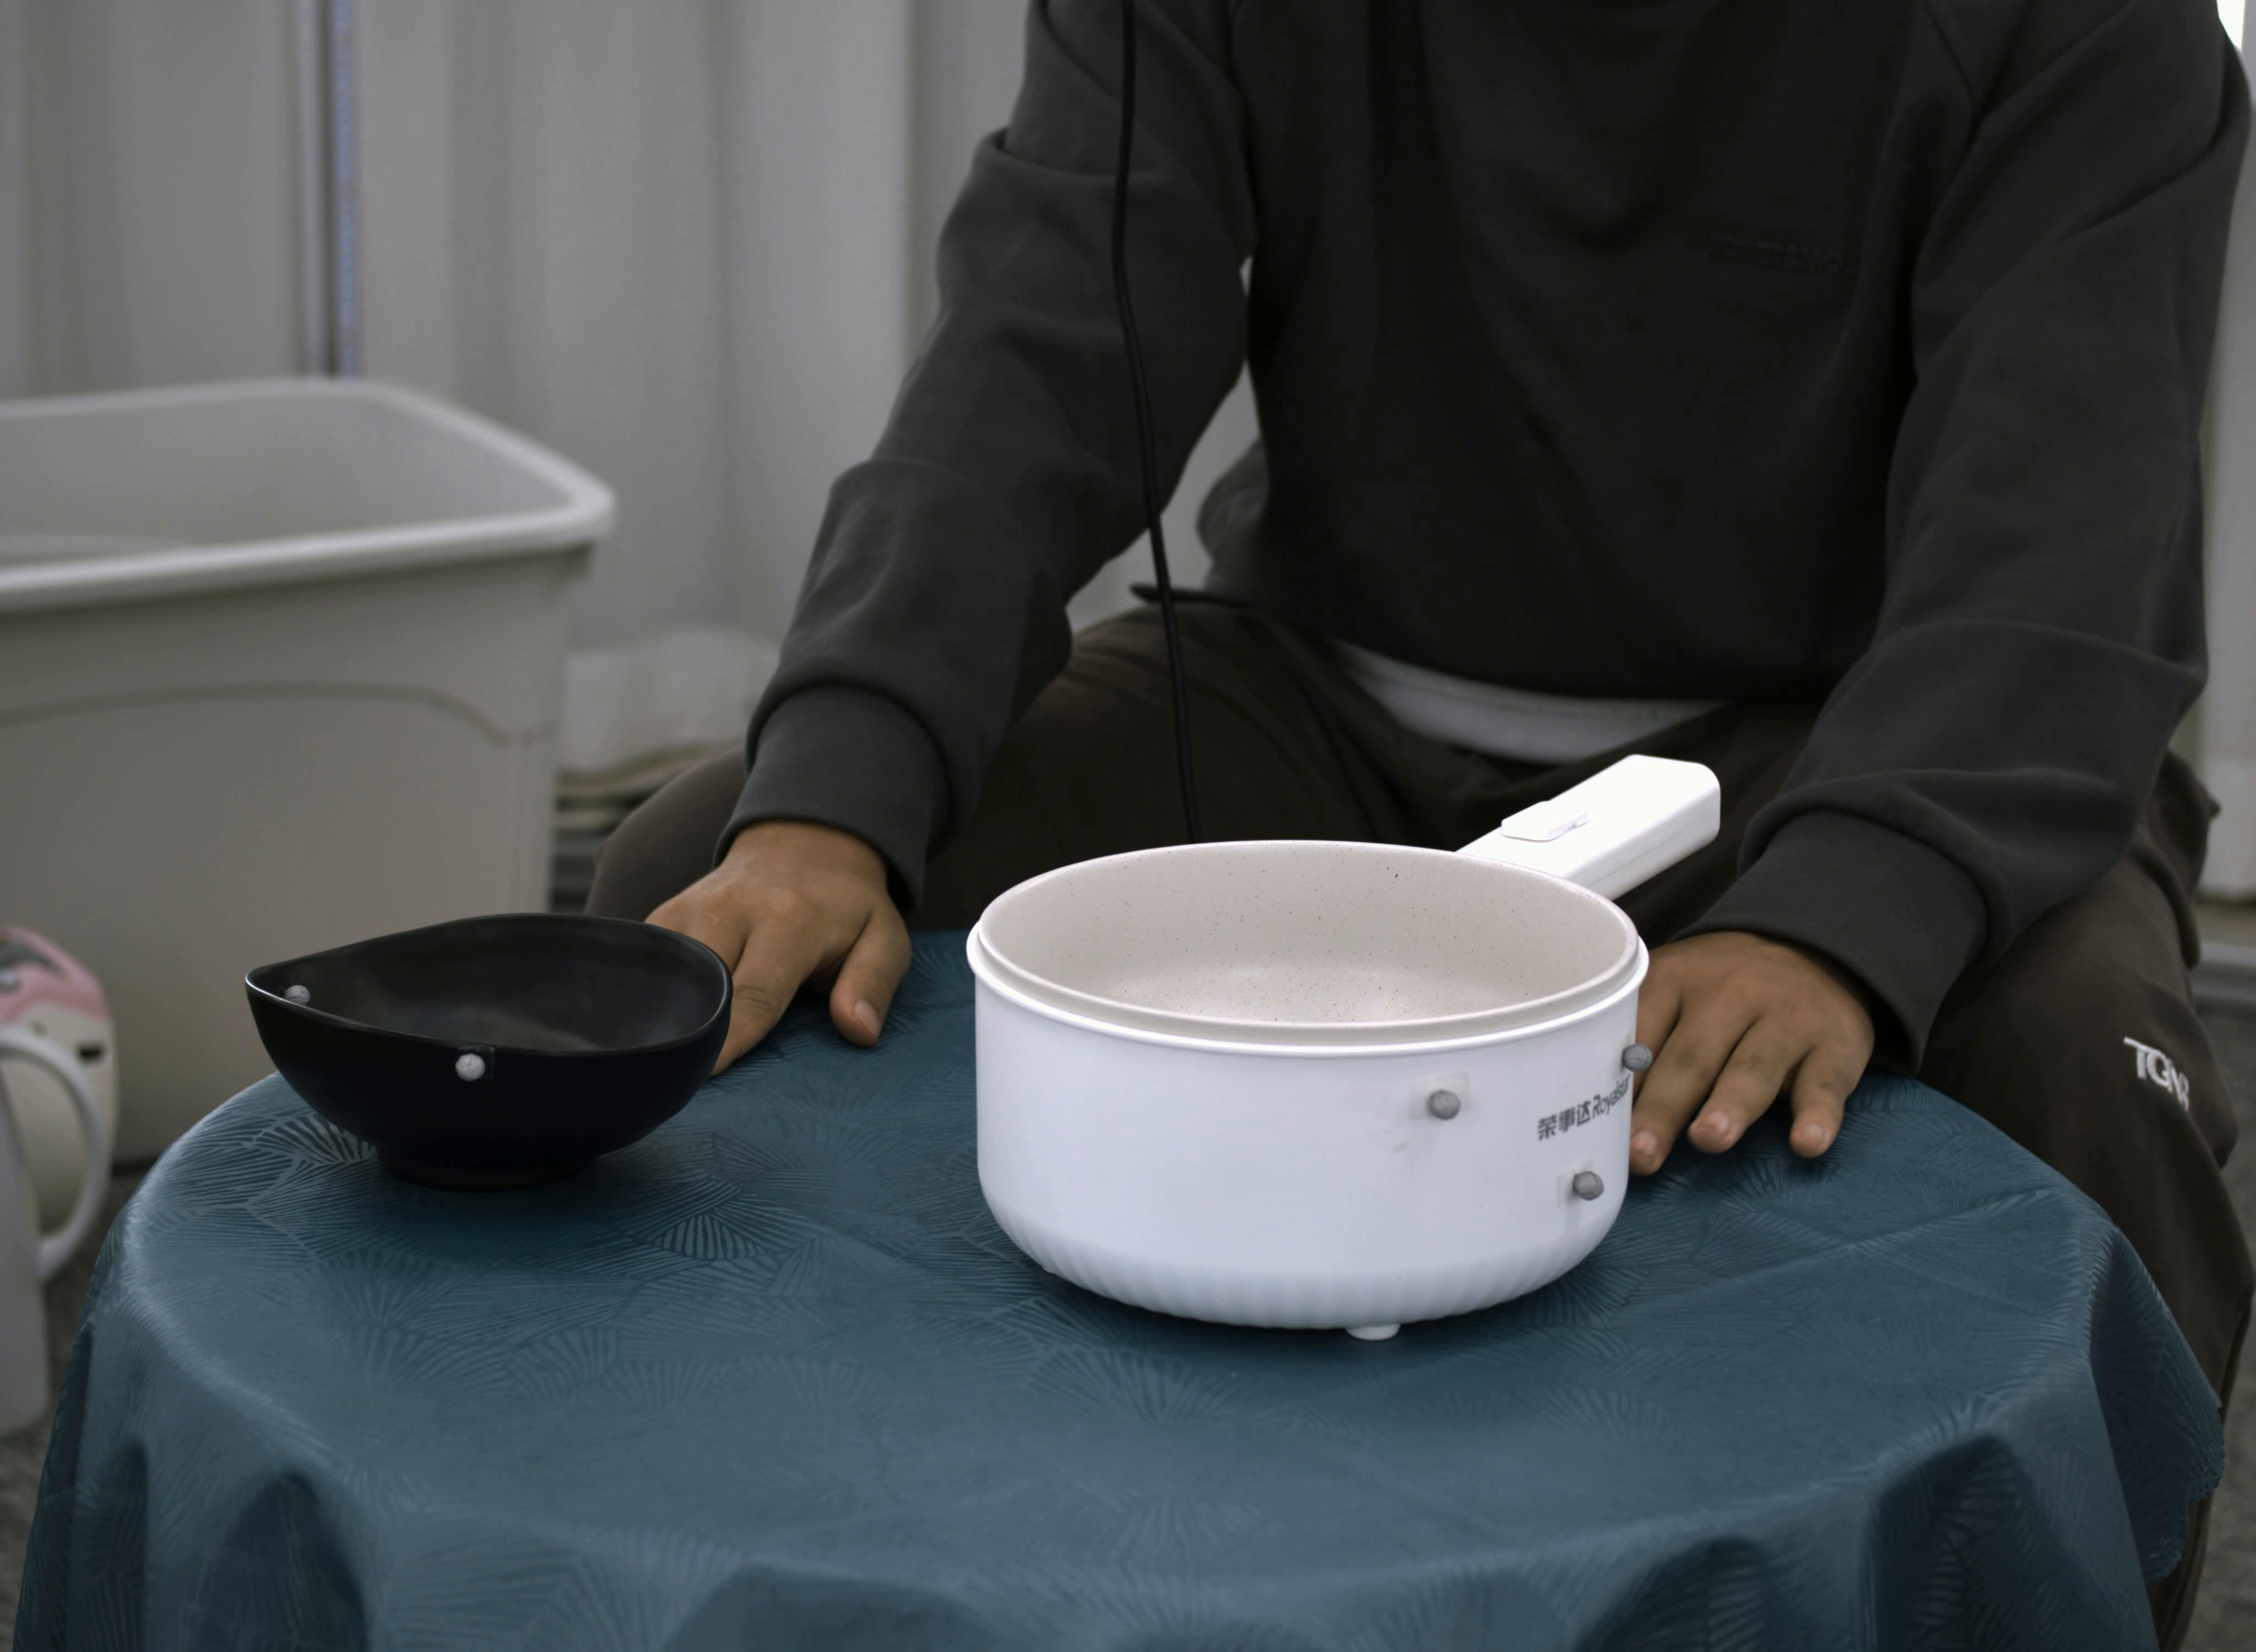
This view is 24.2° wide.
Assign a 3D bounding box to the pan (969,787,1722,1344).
[{"bbox_3d":[0.091,0.067,1.629,0.199,0.103,0.356,7,14,29],"label":"pan"}]

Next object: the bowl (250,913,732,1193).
[{"bbox_3d":[-0.198,0.074,1.635,0.168,0.067,0.138,12,19,40],"label":"bowl"}]
